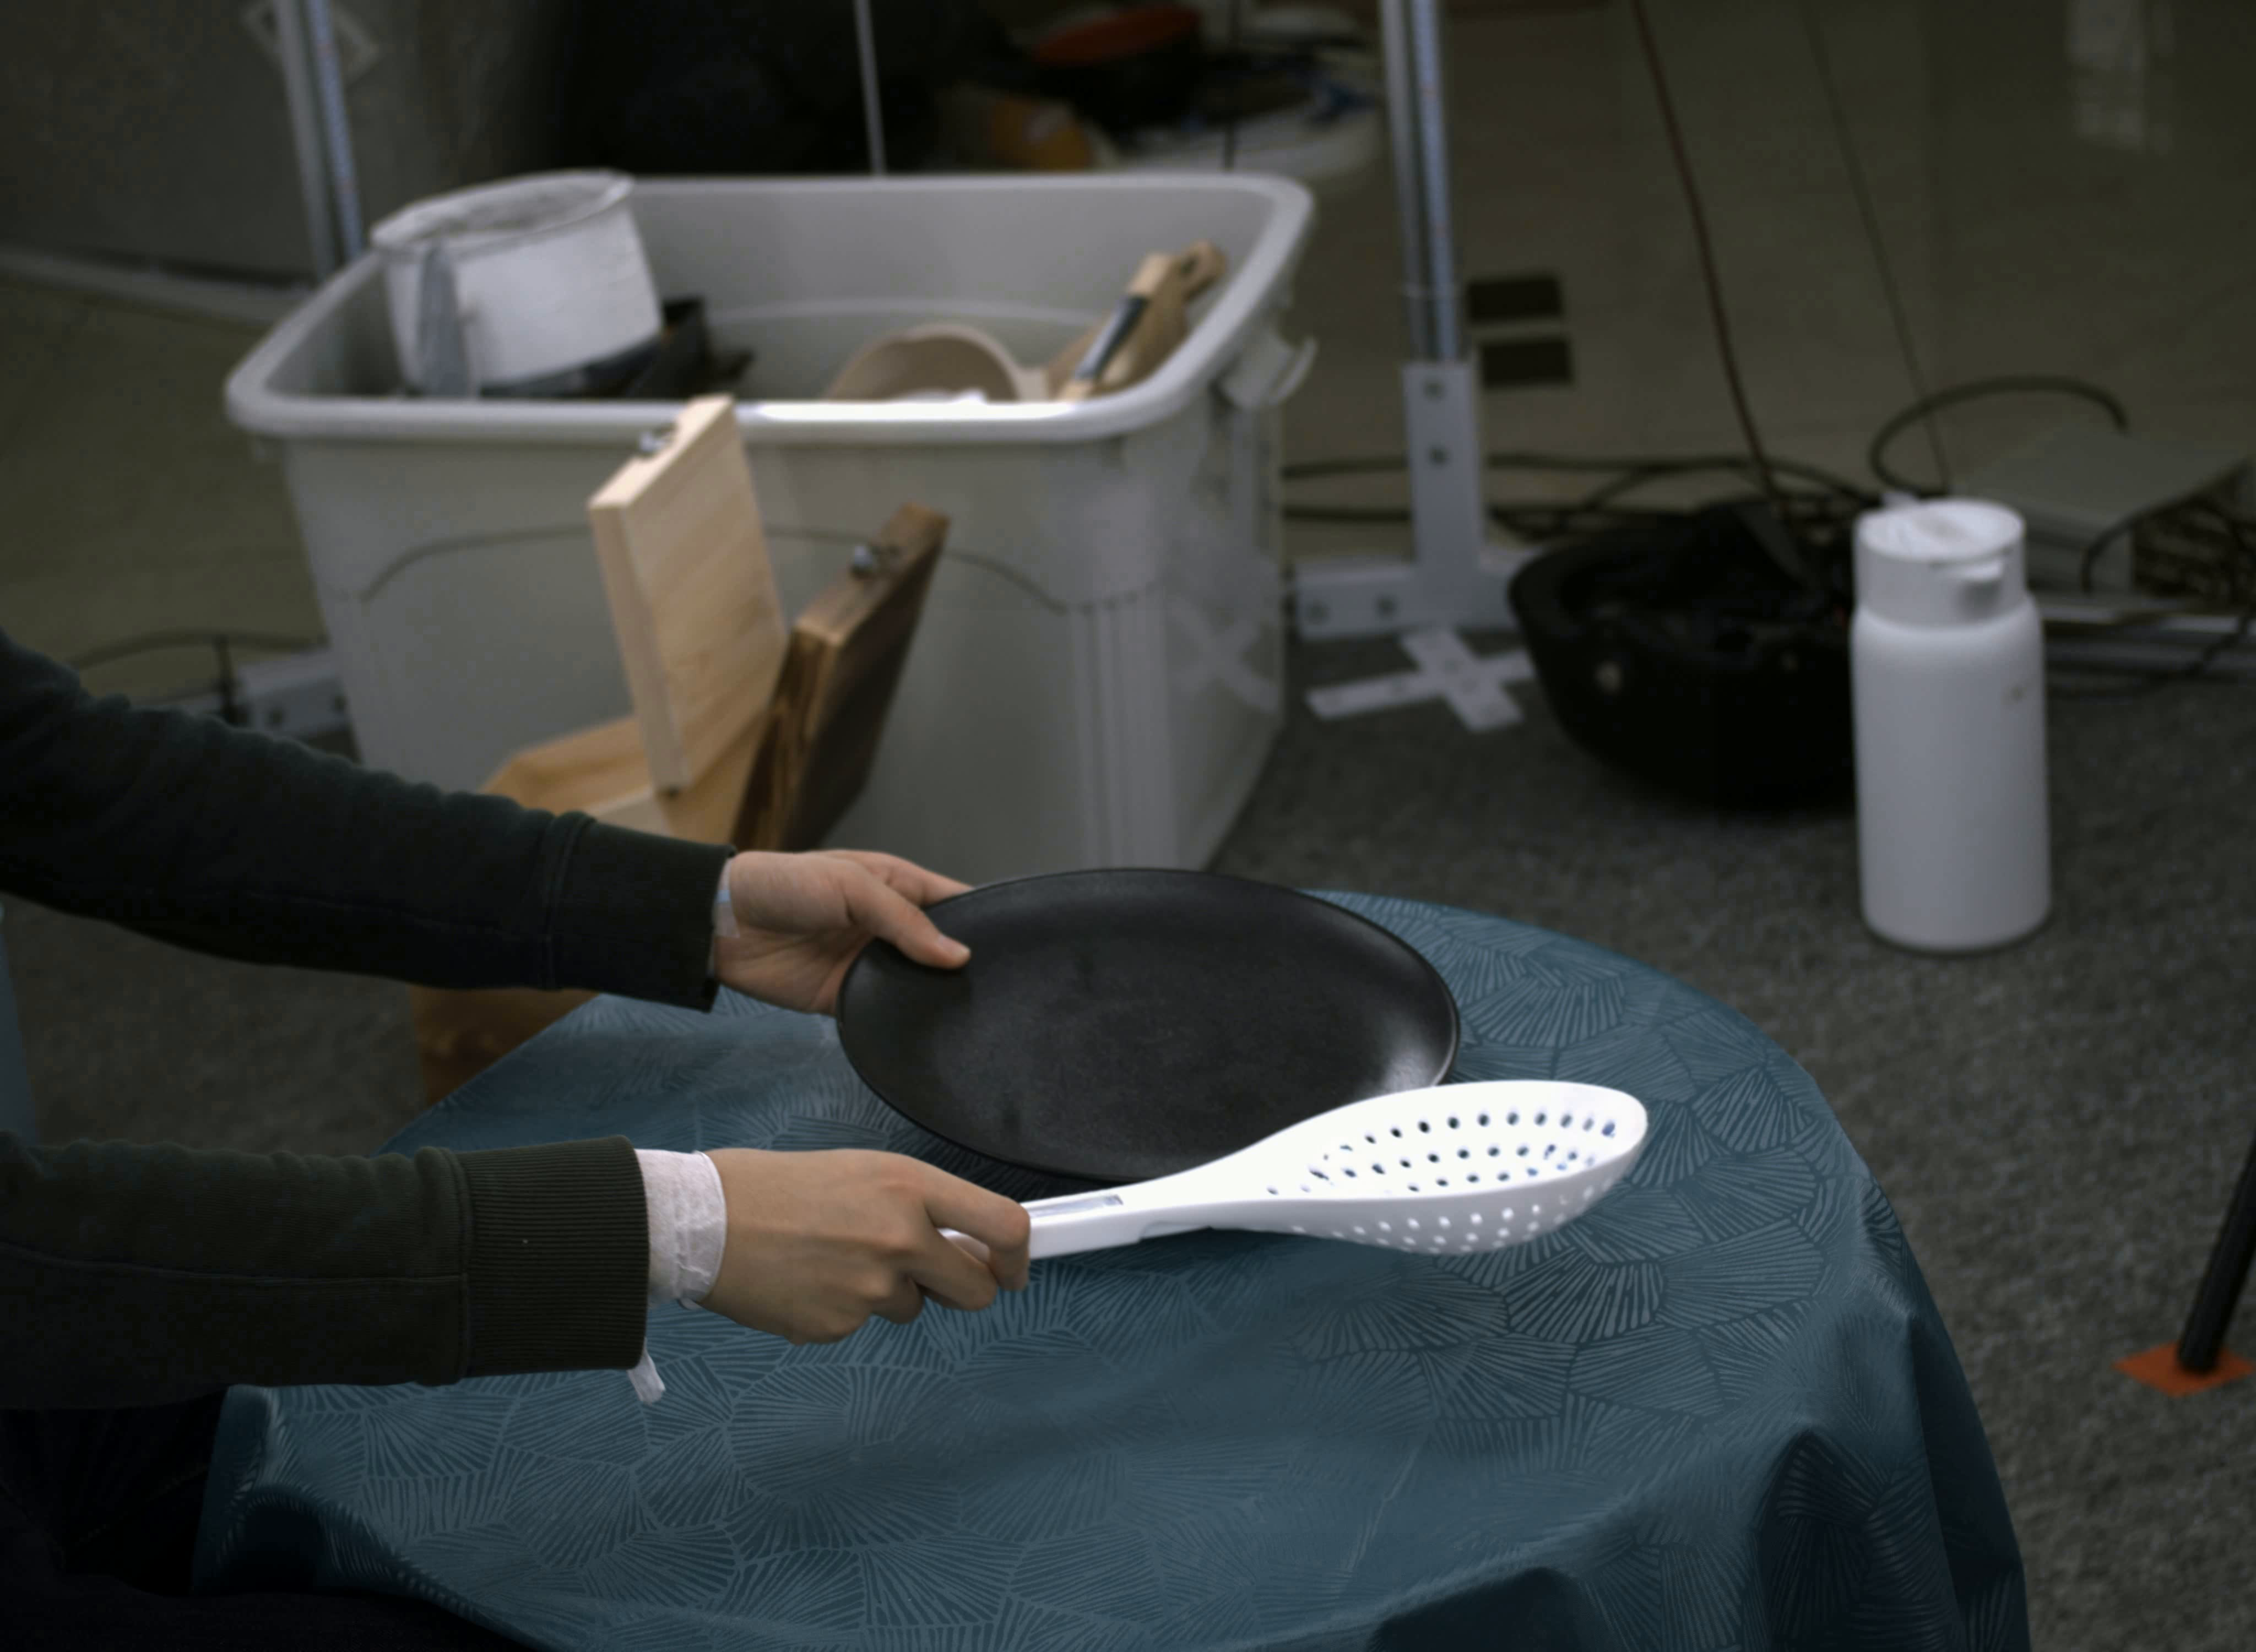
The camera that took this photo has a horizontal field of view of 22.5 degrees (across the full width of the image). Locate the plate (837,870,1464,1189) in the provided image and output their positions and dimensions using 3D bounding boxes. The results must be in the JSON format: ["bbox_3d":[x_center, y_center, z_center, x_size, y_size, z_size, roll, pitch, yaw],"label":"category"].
[{"bbox_3d":[0.008,0.083,2.198,0.244,0.024,0.240,2,28,-1],"label":"plate"}]

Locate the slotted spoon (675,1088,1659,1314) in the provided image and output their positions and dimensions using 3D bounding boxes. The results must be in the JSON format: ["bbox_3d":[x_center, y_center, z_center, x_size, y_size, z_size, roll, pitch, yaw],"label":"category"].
[{"bbox_3d":[0.015,0.135,1.993,0.349,0.046,0.135,-4,12,-9],"label":"slotted spoon"}]
